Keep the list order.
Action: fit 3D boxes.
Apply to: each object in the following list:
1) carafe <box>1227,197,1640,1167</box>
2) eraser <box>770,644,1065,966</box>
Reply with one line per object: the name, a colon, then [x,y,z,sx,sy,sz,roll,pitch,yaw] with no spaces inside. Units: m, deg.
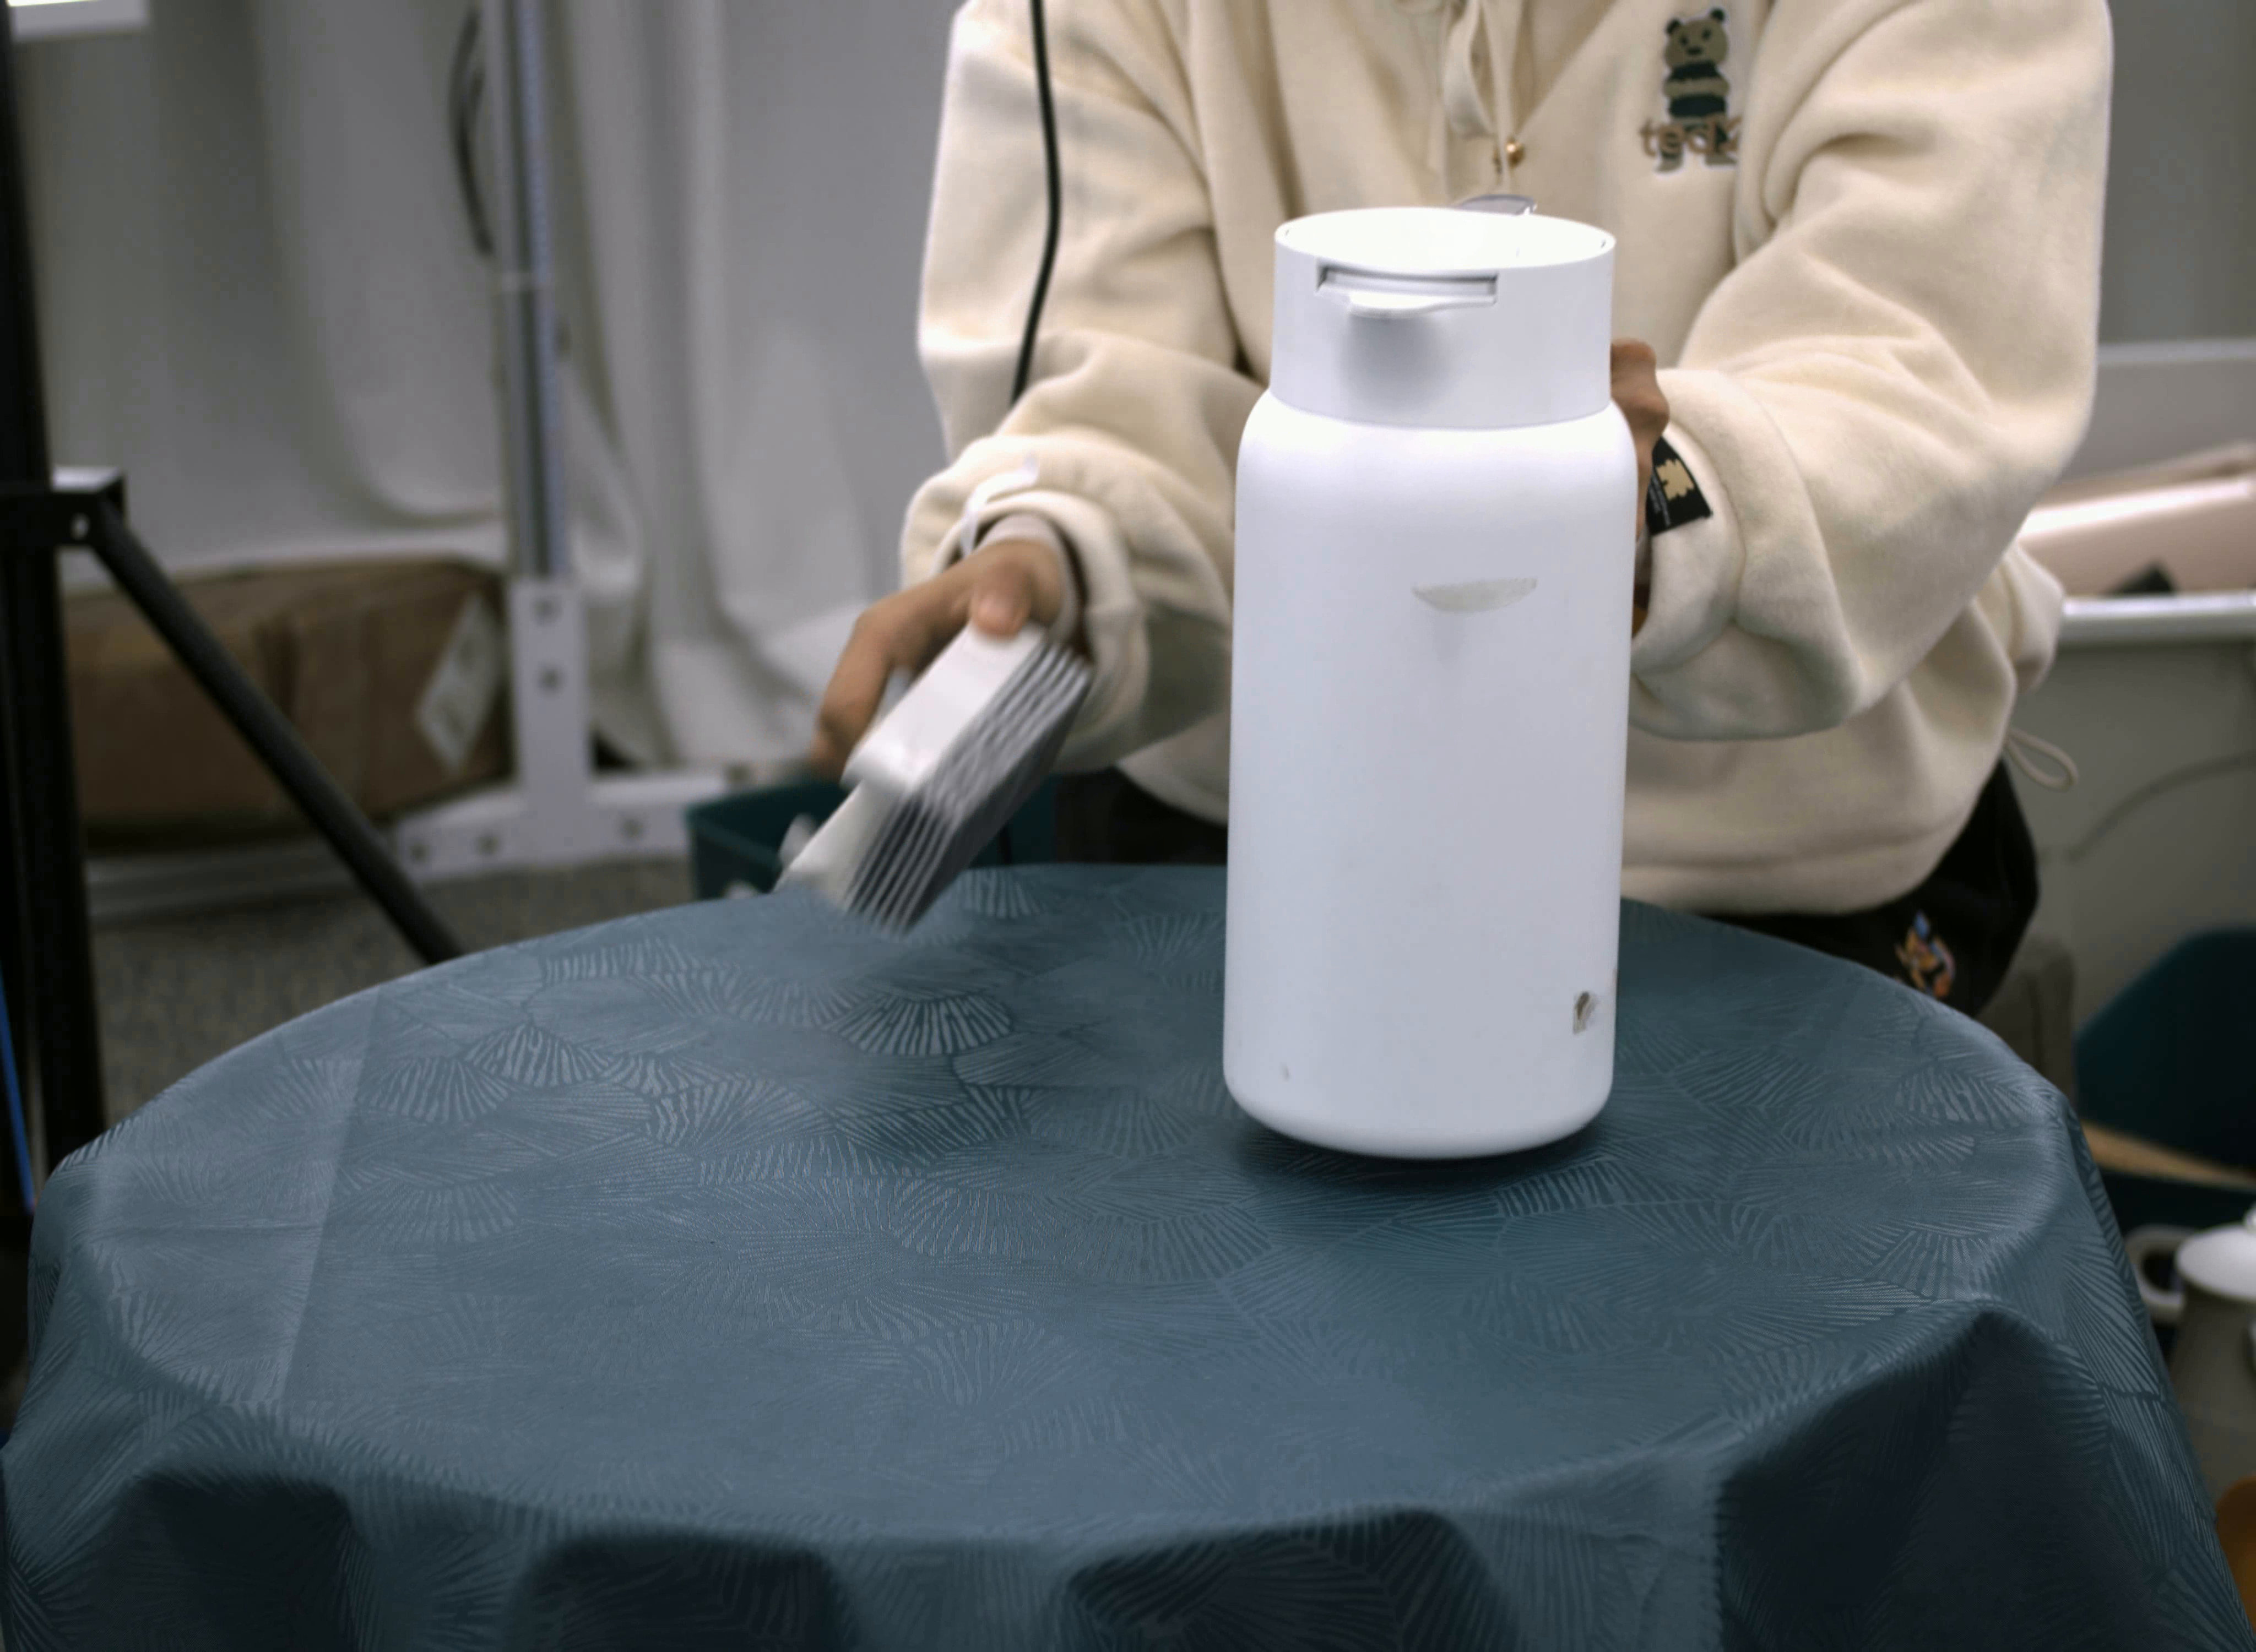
carafe: [0.094,-0.046,1.574,0.125,0.269,0.171,4,16,20]
eraser: [-0.064,-0.007,1.688,0.046,0.050,0.133,31,27,3]
